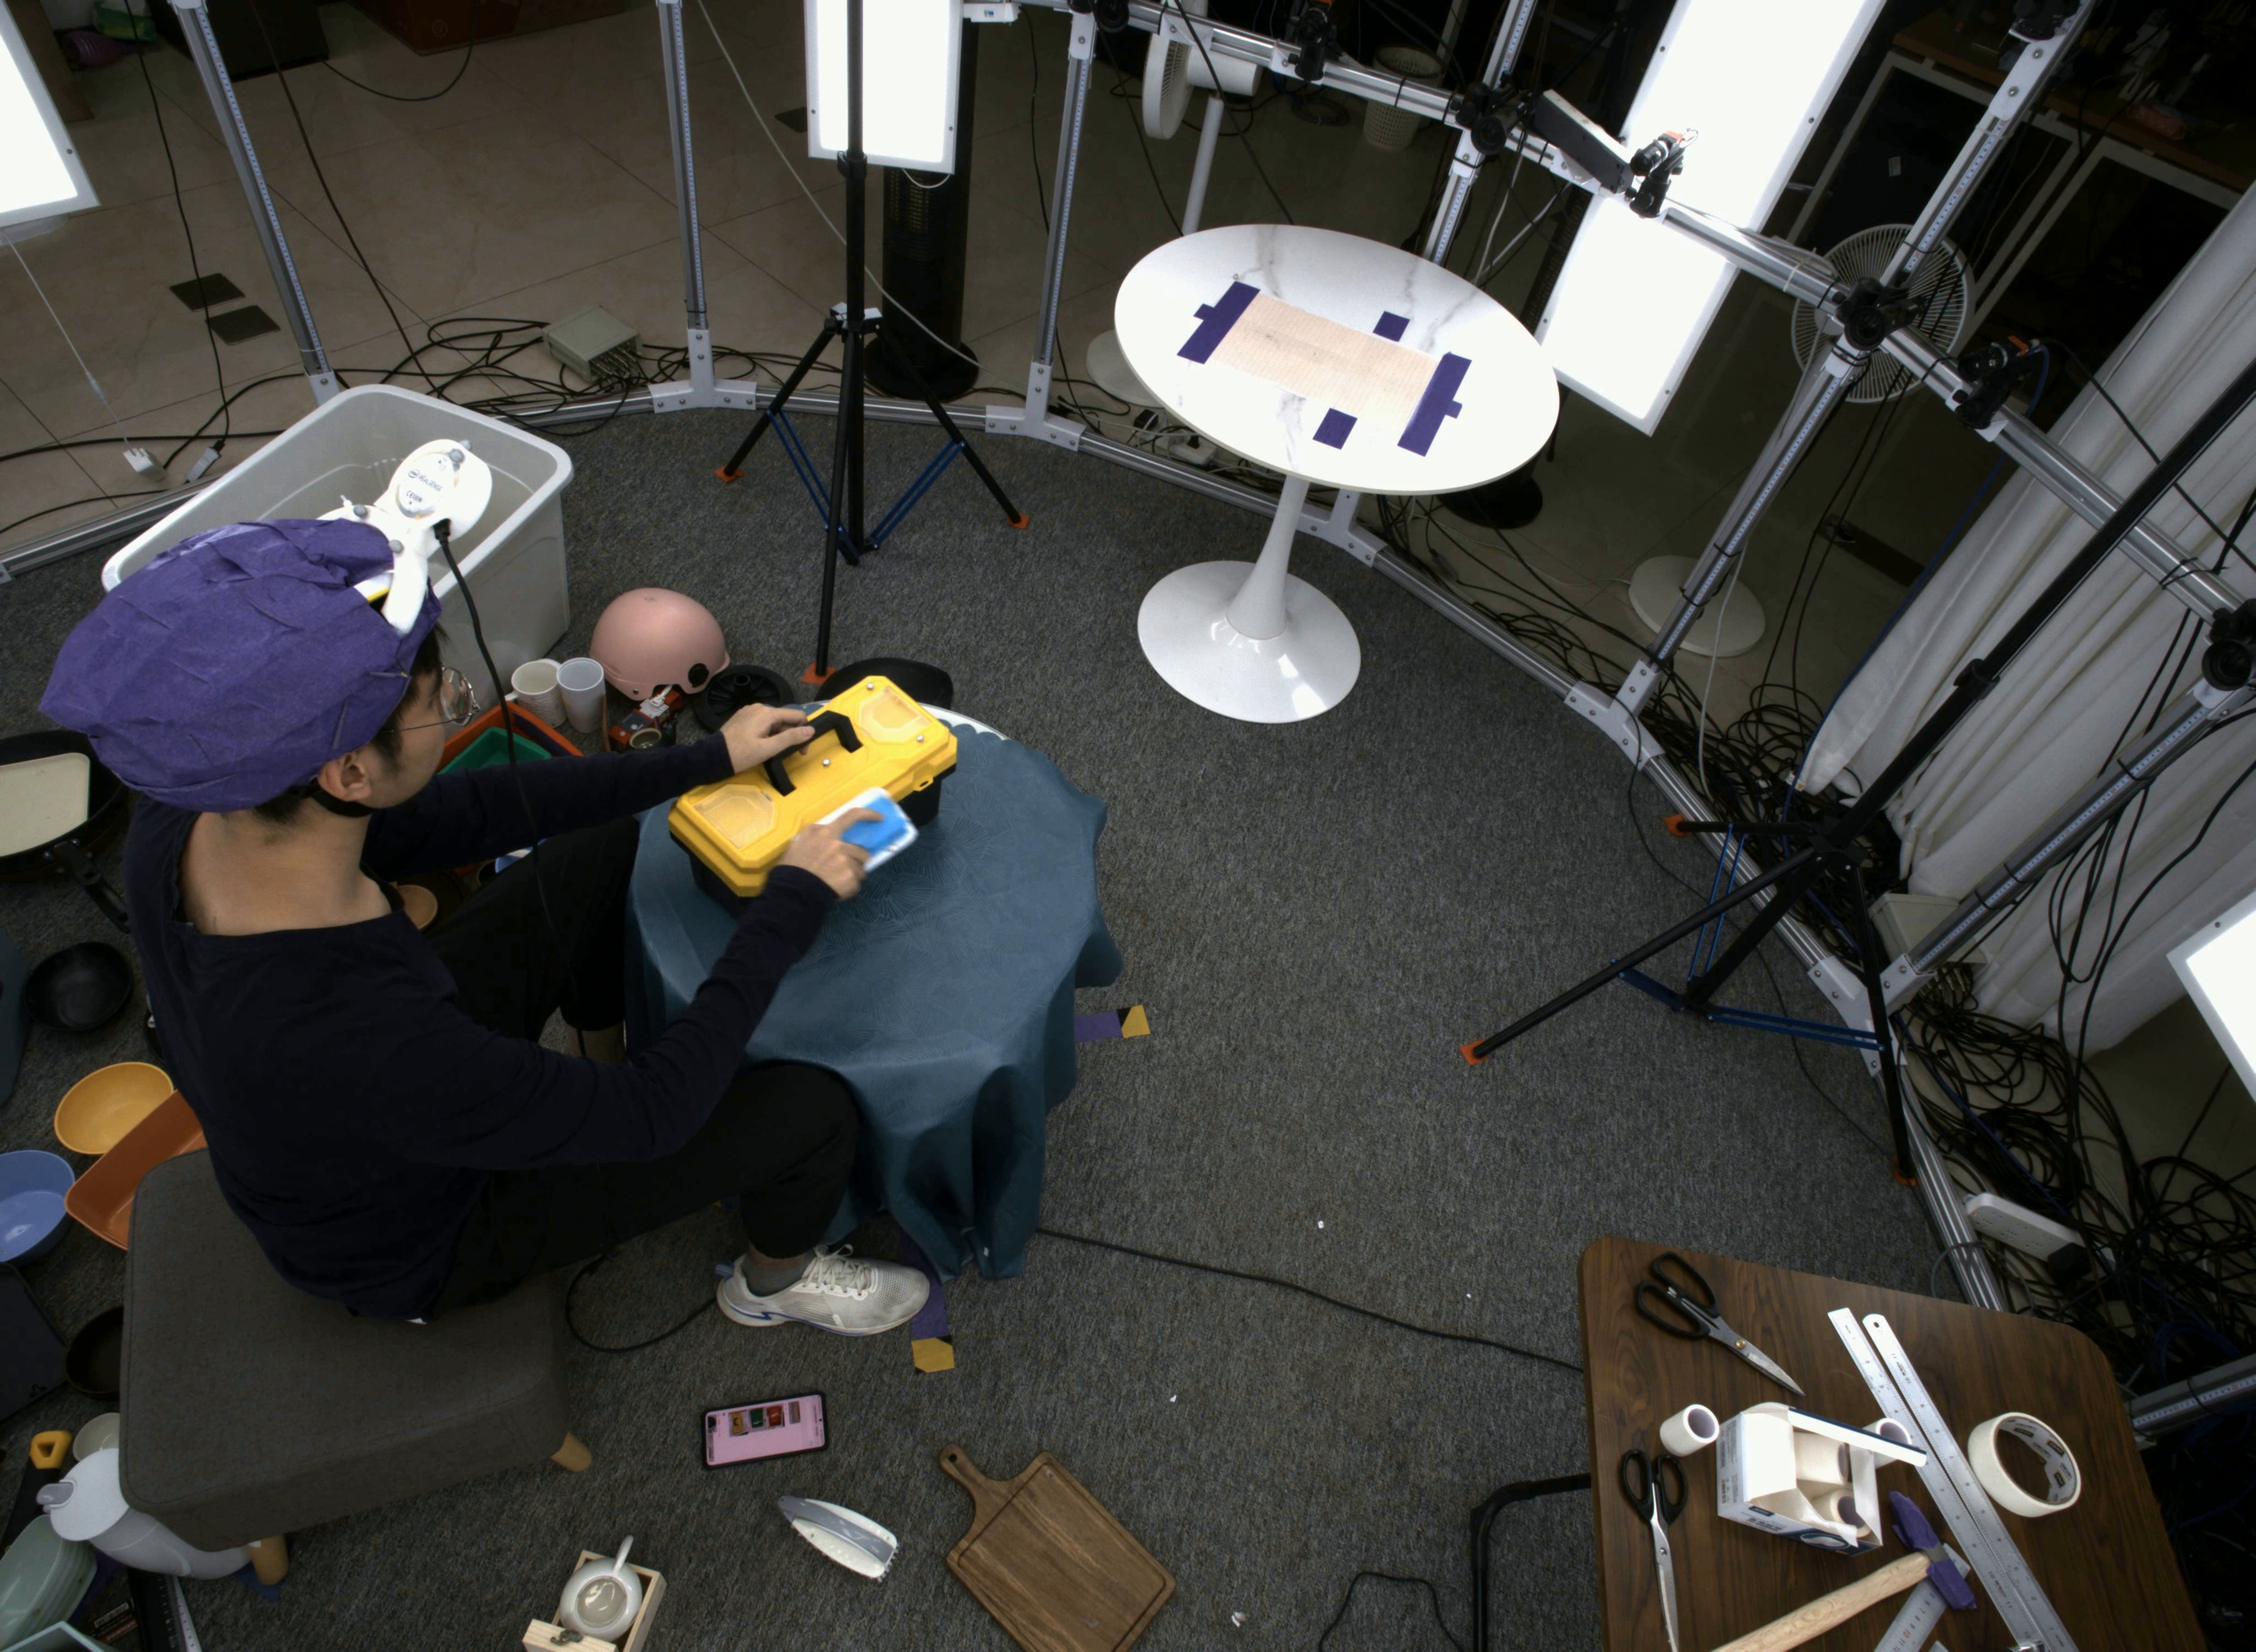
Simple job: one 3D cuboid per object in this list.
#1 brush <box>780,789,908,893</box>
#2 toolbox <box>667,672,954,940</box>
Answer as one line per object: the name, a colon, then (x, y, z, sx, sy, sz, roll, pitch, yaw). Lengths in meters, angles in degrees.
brush: (-0.321, 0.008, 1.484, 0.144, 0.056, 0.084, -36, 86, -37)
toolbox: (-0.391, -0.026, 1.641, 0.177, 0.176, 0.352, 39, 55, 18)
